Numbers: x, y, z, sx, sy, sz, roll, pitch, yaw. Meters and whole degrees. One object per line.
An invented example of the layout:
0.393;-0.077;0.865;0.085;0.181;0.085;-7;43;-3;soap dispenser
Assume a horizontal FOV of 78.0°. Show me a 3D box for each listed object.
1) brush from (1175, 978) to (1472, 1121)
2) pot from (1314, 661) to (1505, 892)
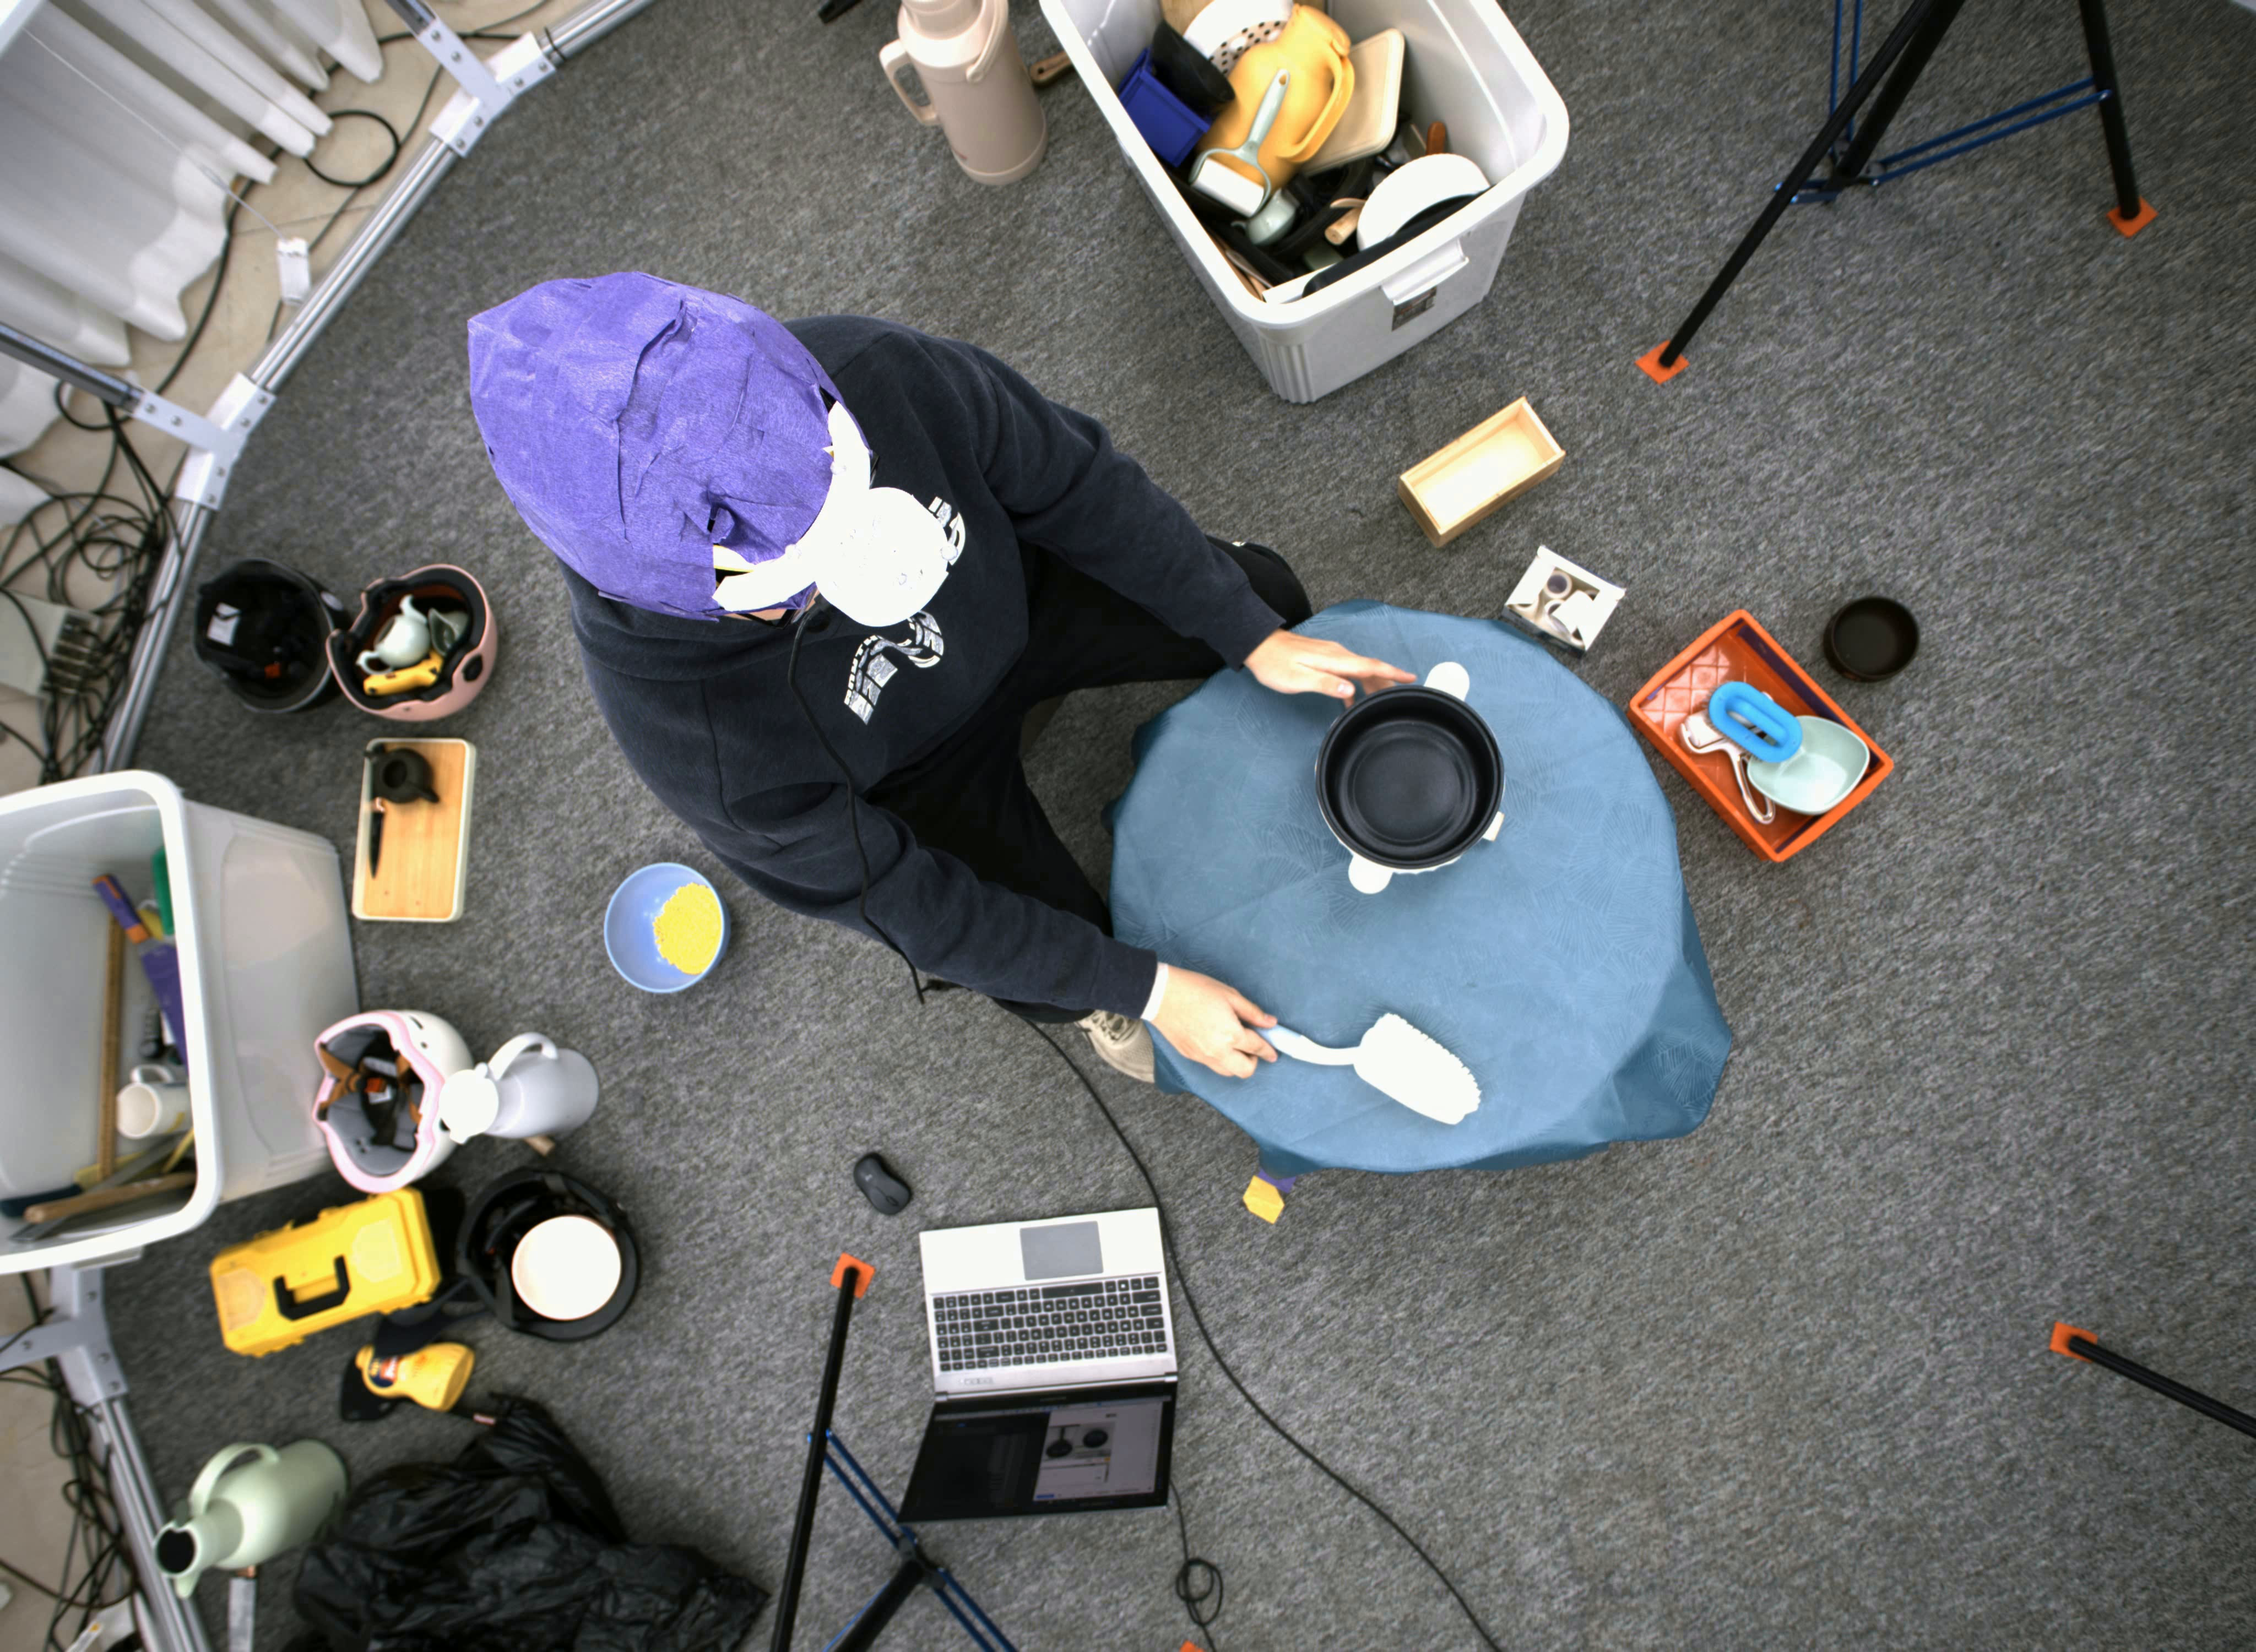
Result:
0.201;0.210;1.423;0.325;0.083;0.085;23;95;10;brush
0.288;-0.042;1.394;0.190;0.142;0.240;22;91;15;pot
